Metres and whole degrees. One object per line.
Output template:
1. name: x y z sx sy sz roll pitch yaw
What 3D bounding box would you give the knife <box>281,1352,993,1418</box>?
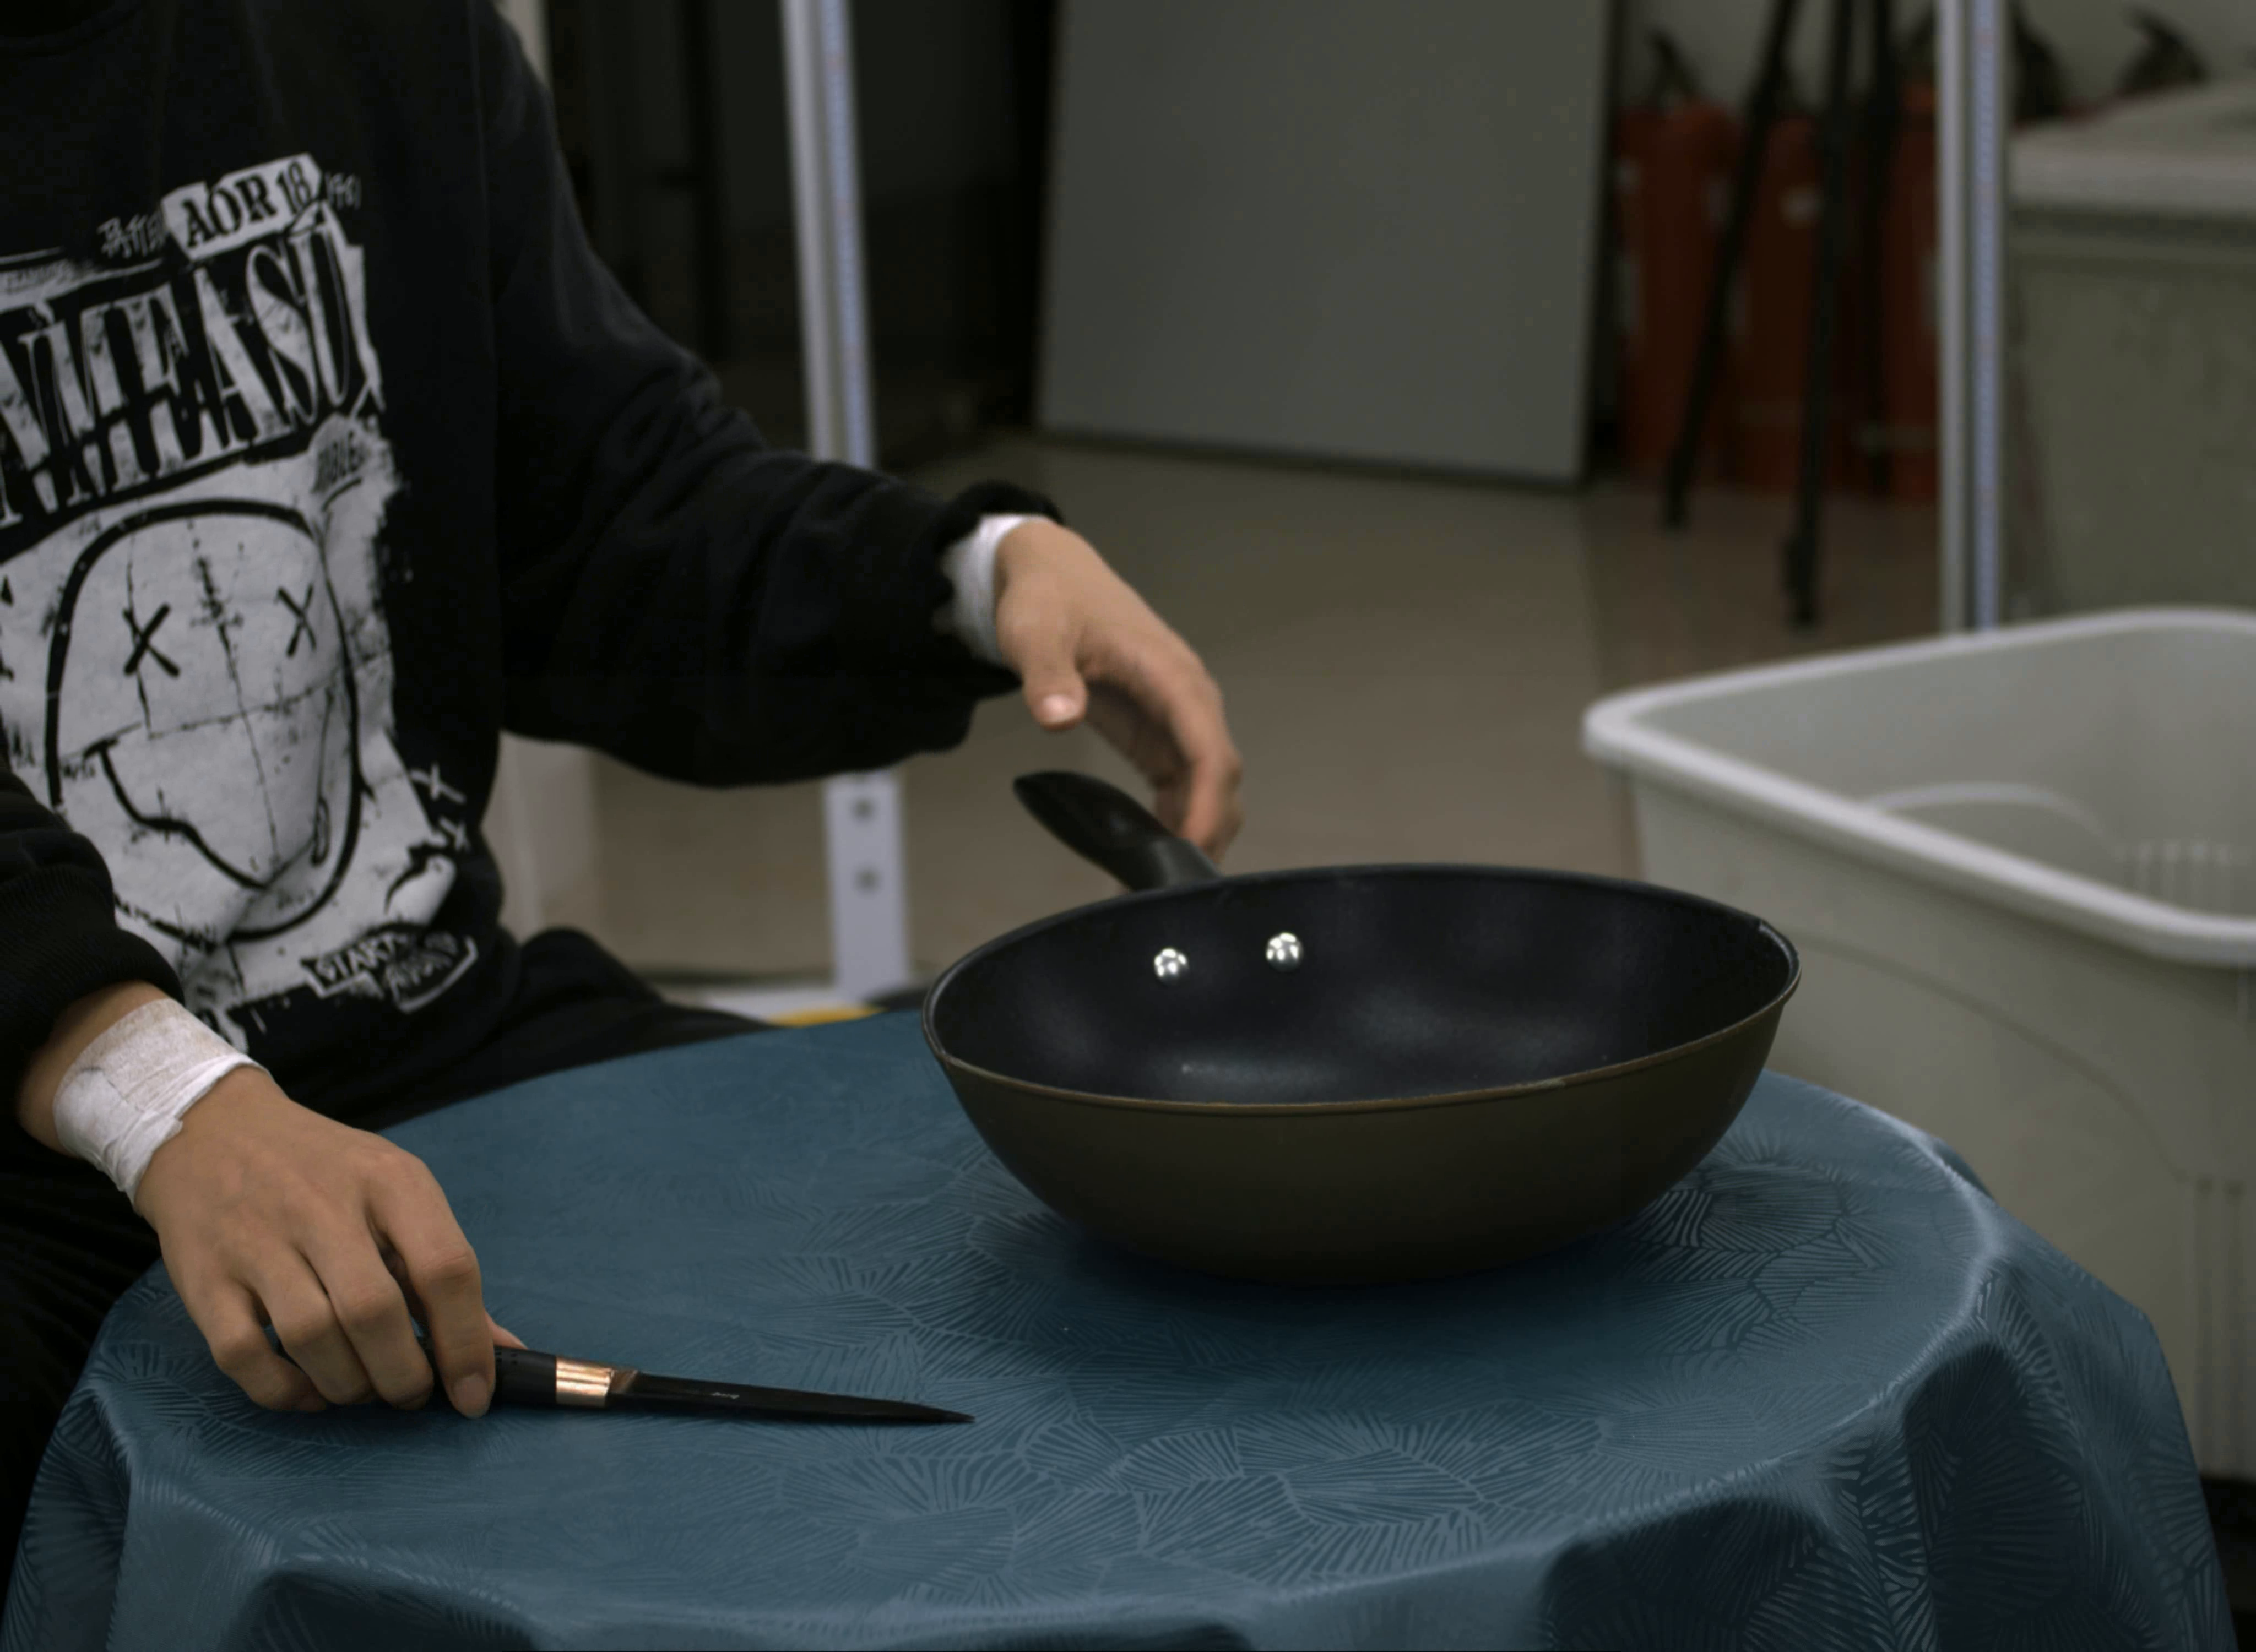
1. knife: -0.148 0.169 1.610 0.225 0.017 0.026 1 1 19

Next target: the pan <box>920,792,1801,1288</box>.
1. pan: 0.047 0.068 1.807 0.282 0.088 0.467 -9 13 -17
